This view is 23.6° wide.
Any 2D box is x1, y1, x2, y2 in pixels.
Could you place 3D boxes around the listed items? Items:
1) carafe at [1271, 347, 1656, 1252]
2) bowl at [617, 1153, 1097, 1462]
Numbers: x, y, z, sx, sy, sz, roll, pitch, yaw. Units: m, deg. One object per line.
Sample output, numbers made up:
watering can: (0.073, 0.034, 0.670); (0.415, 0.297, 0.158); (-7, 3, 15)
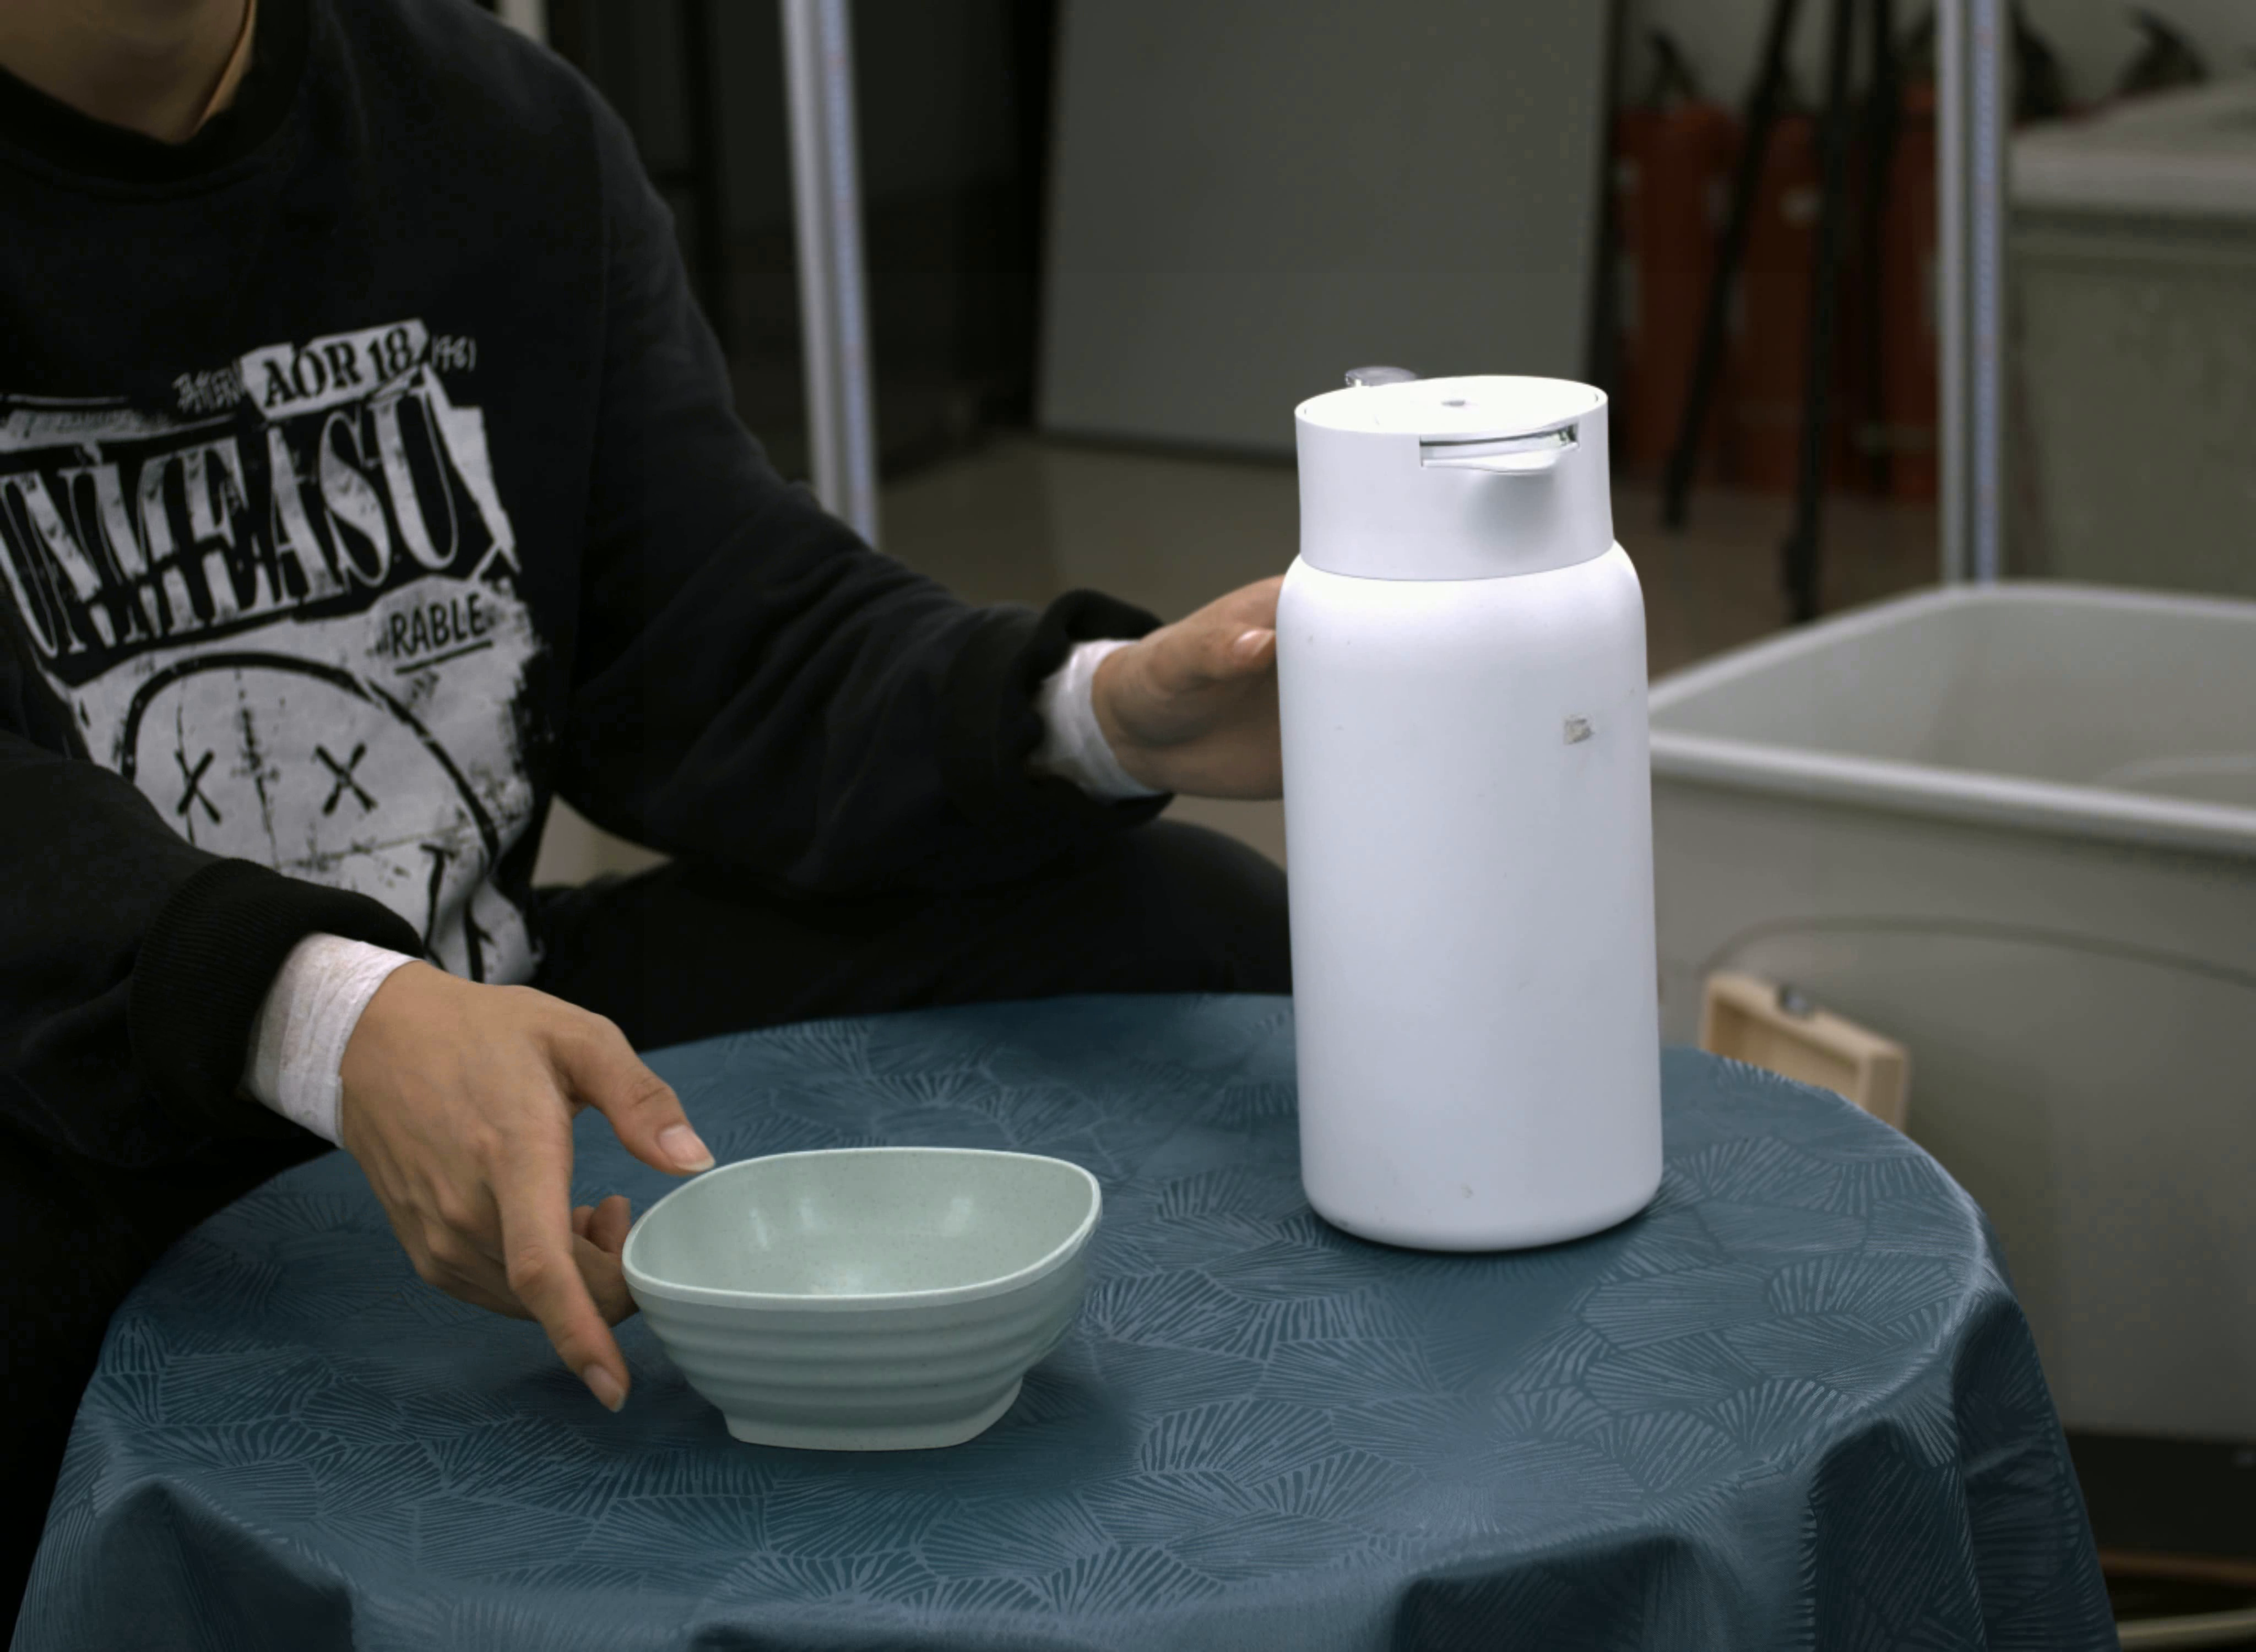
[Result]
carafe: (0.099, -0.012, 1.721); (0.121, 0.272, 0.174); (-10, 15, -17)
bowl: (-0.077, 0.145, 1.591); (0.149, 0.059, 0.152); (-4, 14, 0)
